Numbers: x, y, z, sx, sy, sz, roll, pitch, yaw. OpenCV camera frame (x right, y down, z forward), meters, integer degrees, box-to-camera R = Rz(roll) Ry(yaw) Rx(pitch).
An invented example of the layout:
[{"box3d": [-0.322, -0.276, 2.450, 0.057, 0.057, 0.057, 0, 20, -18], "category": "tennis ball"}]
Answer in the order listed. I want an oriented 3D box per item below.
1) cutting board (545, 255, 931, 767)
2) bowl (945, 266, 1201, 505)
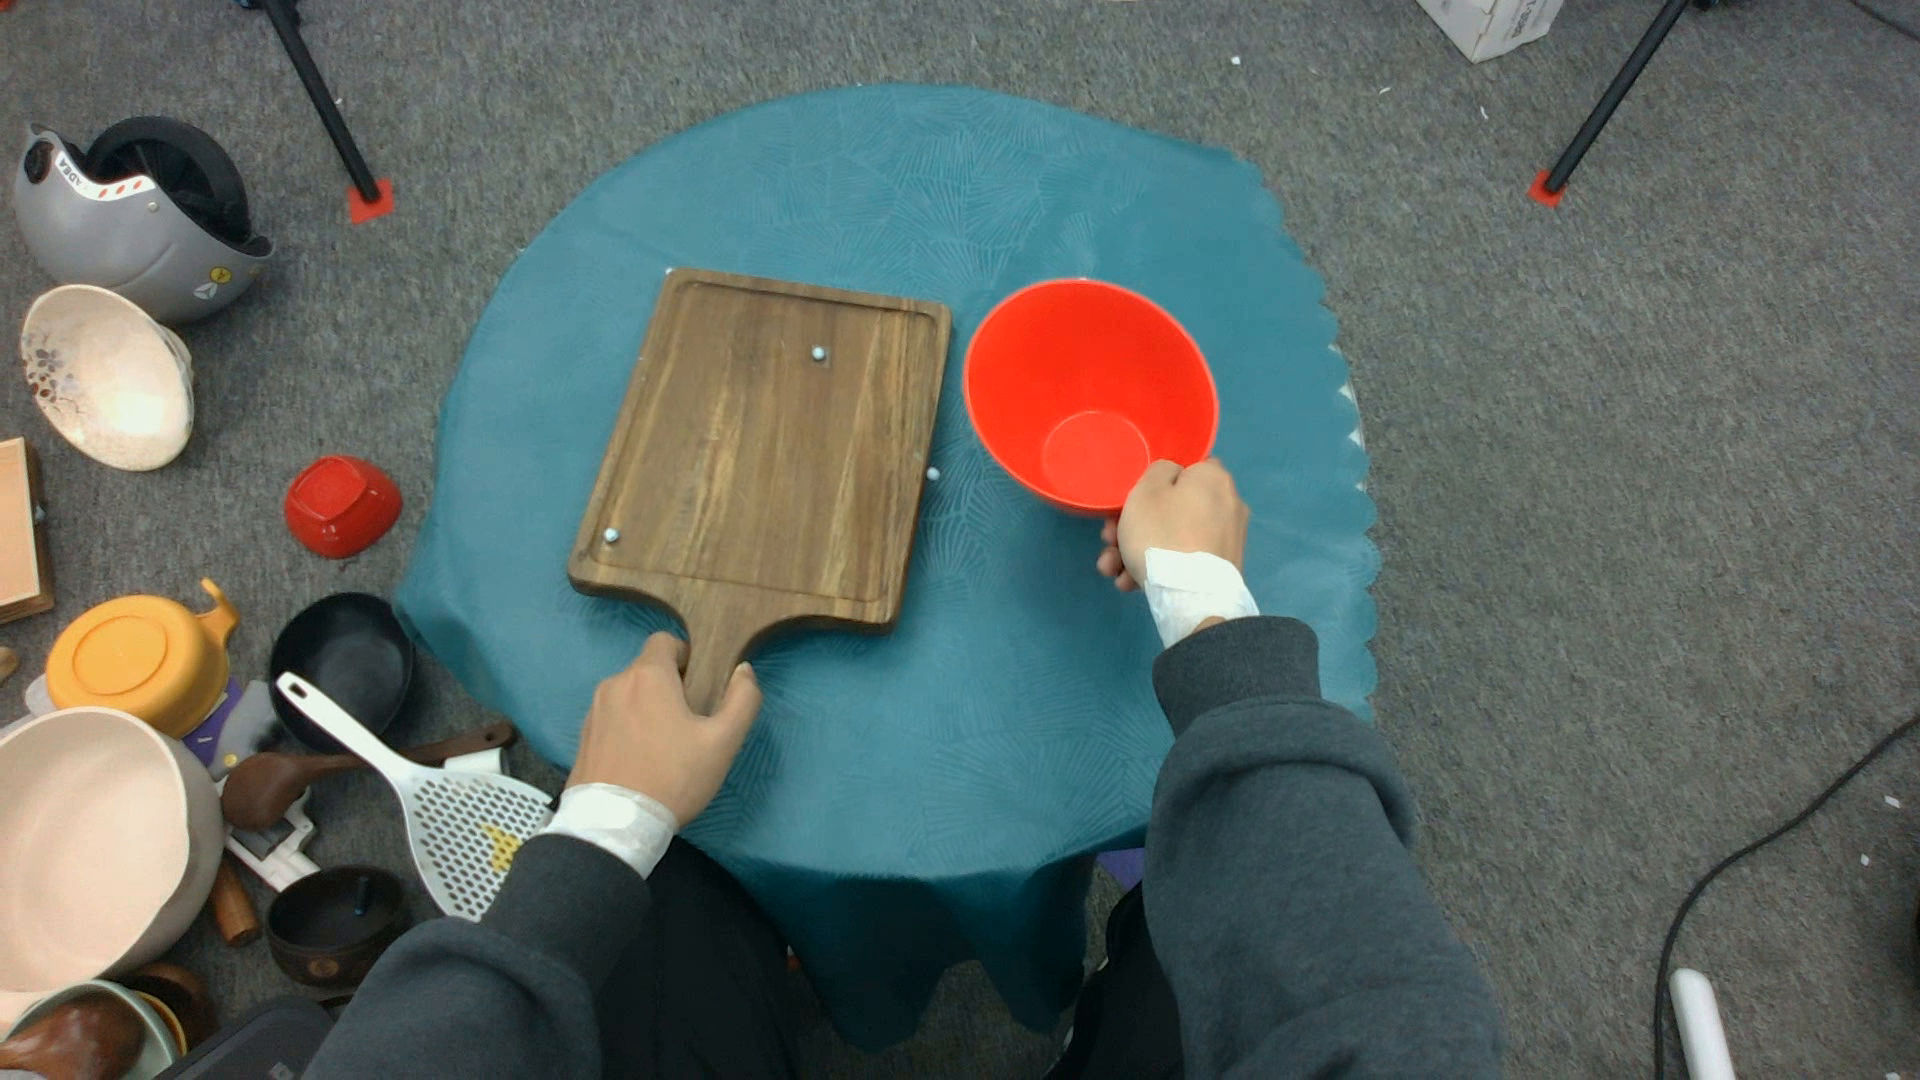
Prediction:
[{"box3d": [-0.135, -0.030, 0.835, 0.201, 0.023, 0.354, 8, 58, 1], "category": "cutting board"}, {"box3d": [0.065, -0.077, 0.819, 0.148, 0.104, 0.148, 0, 67, -1], "category": "bowl"}]
